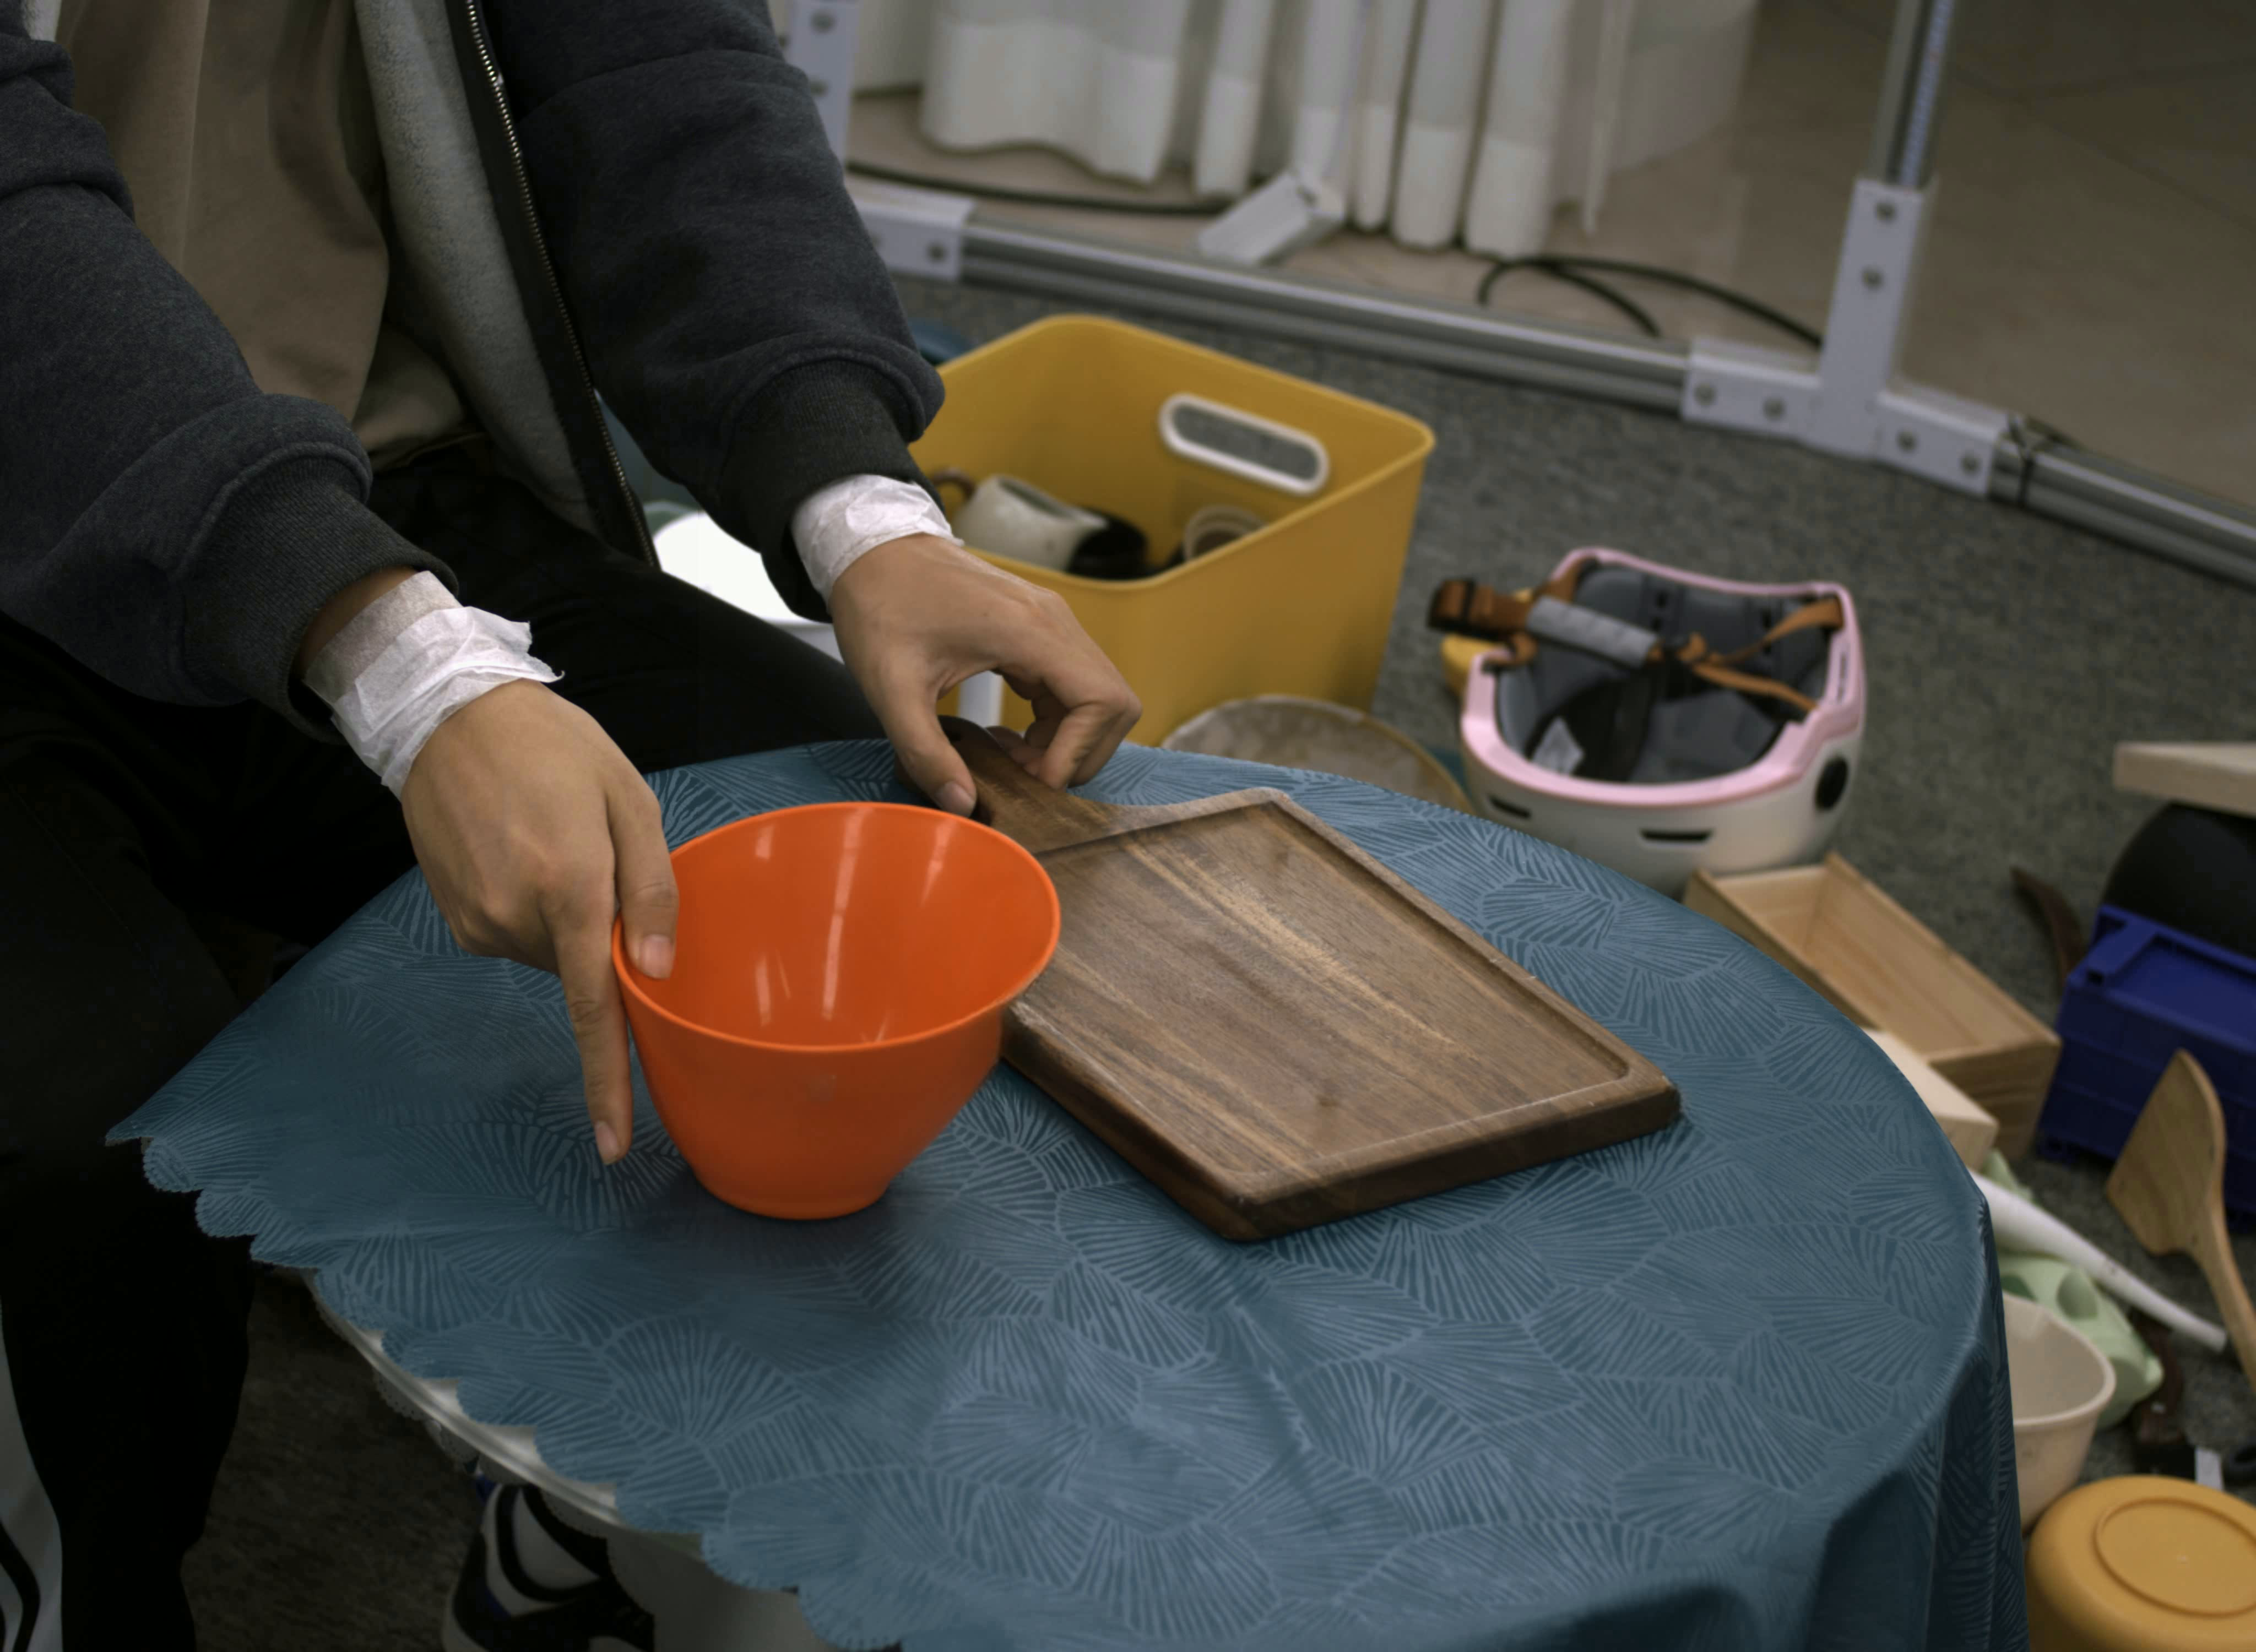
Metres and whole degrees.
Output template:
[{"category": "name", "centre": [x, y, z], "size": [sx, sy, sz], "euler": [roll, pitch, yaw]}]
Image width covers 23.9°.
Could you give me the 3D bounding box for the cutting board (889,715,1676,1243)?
[{"category": "cutting board", "centre": [0.018, 0.041, 1.945], "size": [0.200, 0.023, 0.355], "euler": [-12, 32, -33]}]

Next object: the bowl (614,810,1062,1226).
[{"category": "bowl", "centre": [-0.099, 0.070, 1.774], "size": [0.147, 0.104, 0.149], "euler": [4, 25, -2]}]
